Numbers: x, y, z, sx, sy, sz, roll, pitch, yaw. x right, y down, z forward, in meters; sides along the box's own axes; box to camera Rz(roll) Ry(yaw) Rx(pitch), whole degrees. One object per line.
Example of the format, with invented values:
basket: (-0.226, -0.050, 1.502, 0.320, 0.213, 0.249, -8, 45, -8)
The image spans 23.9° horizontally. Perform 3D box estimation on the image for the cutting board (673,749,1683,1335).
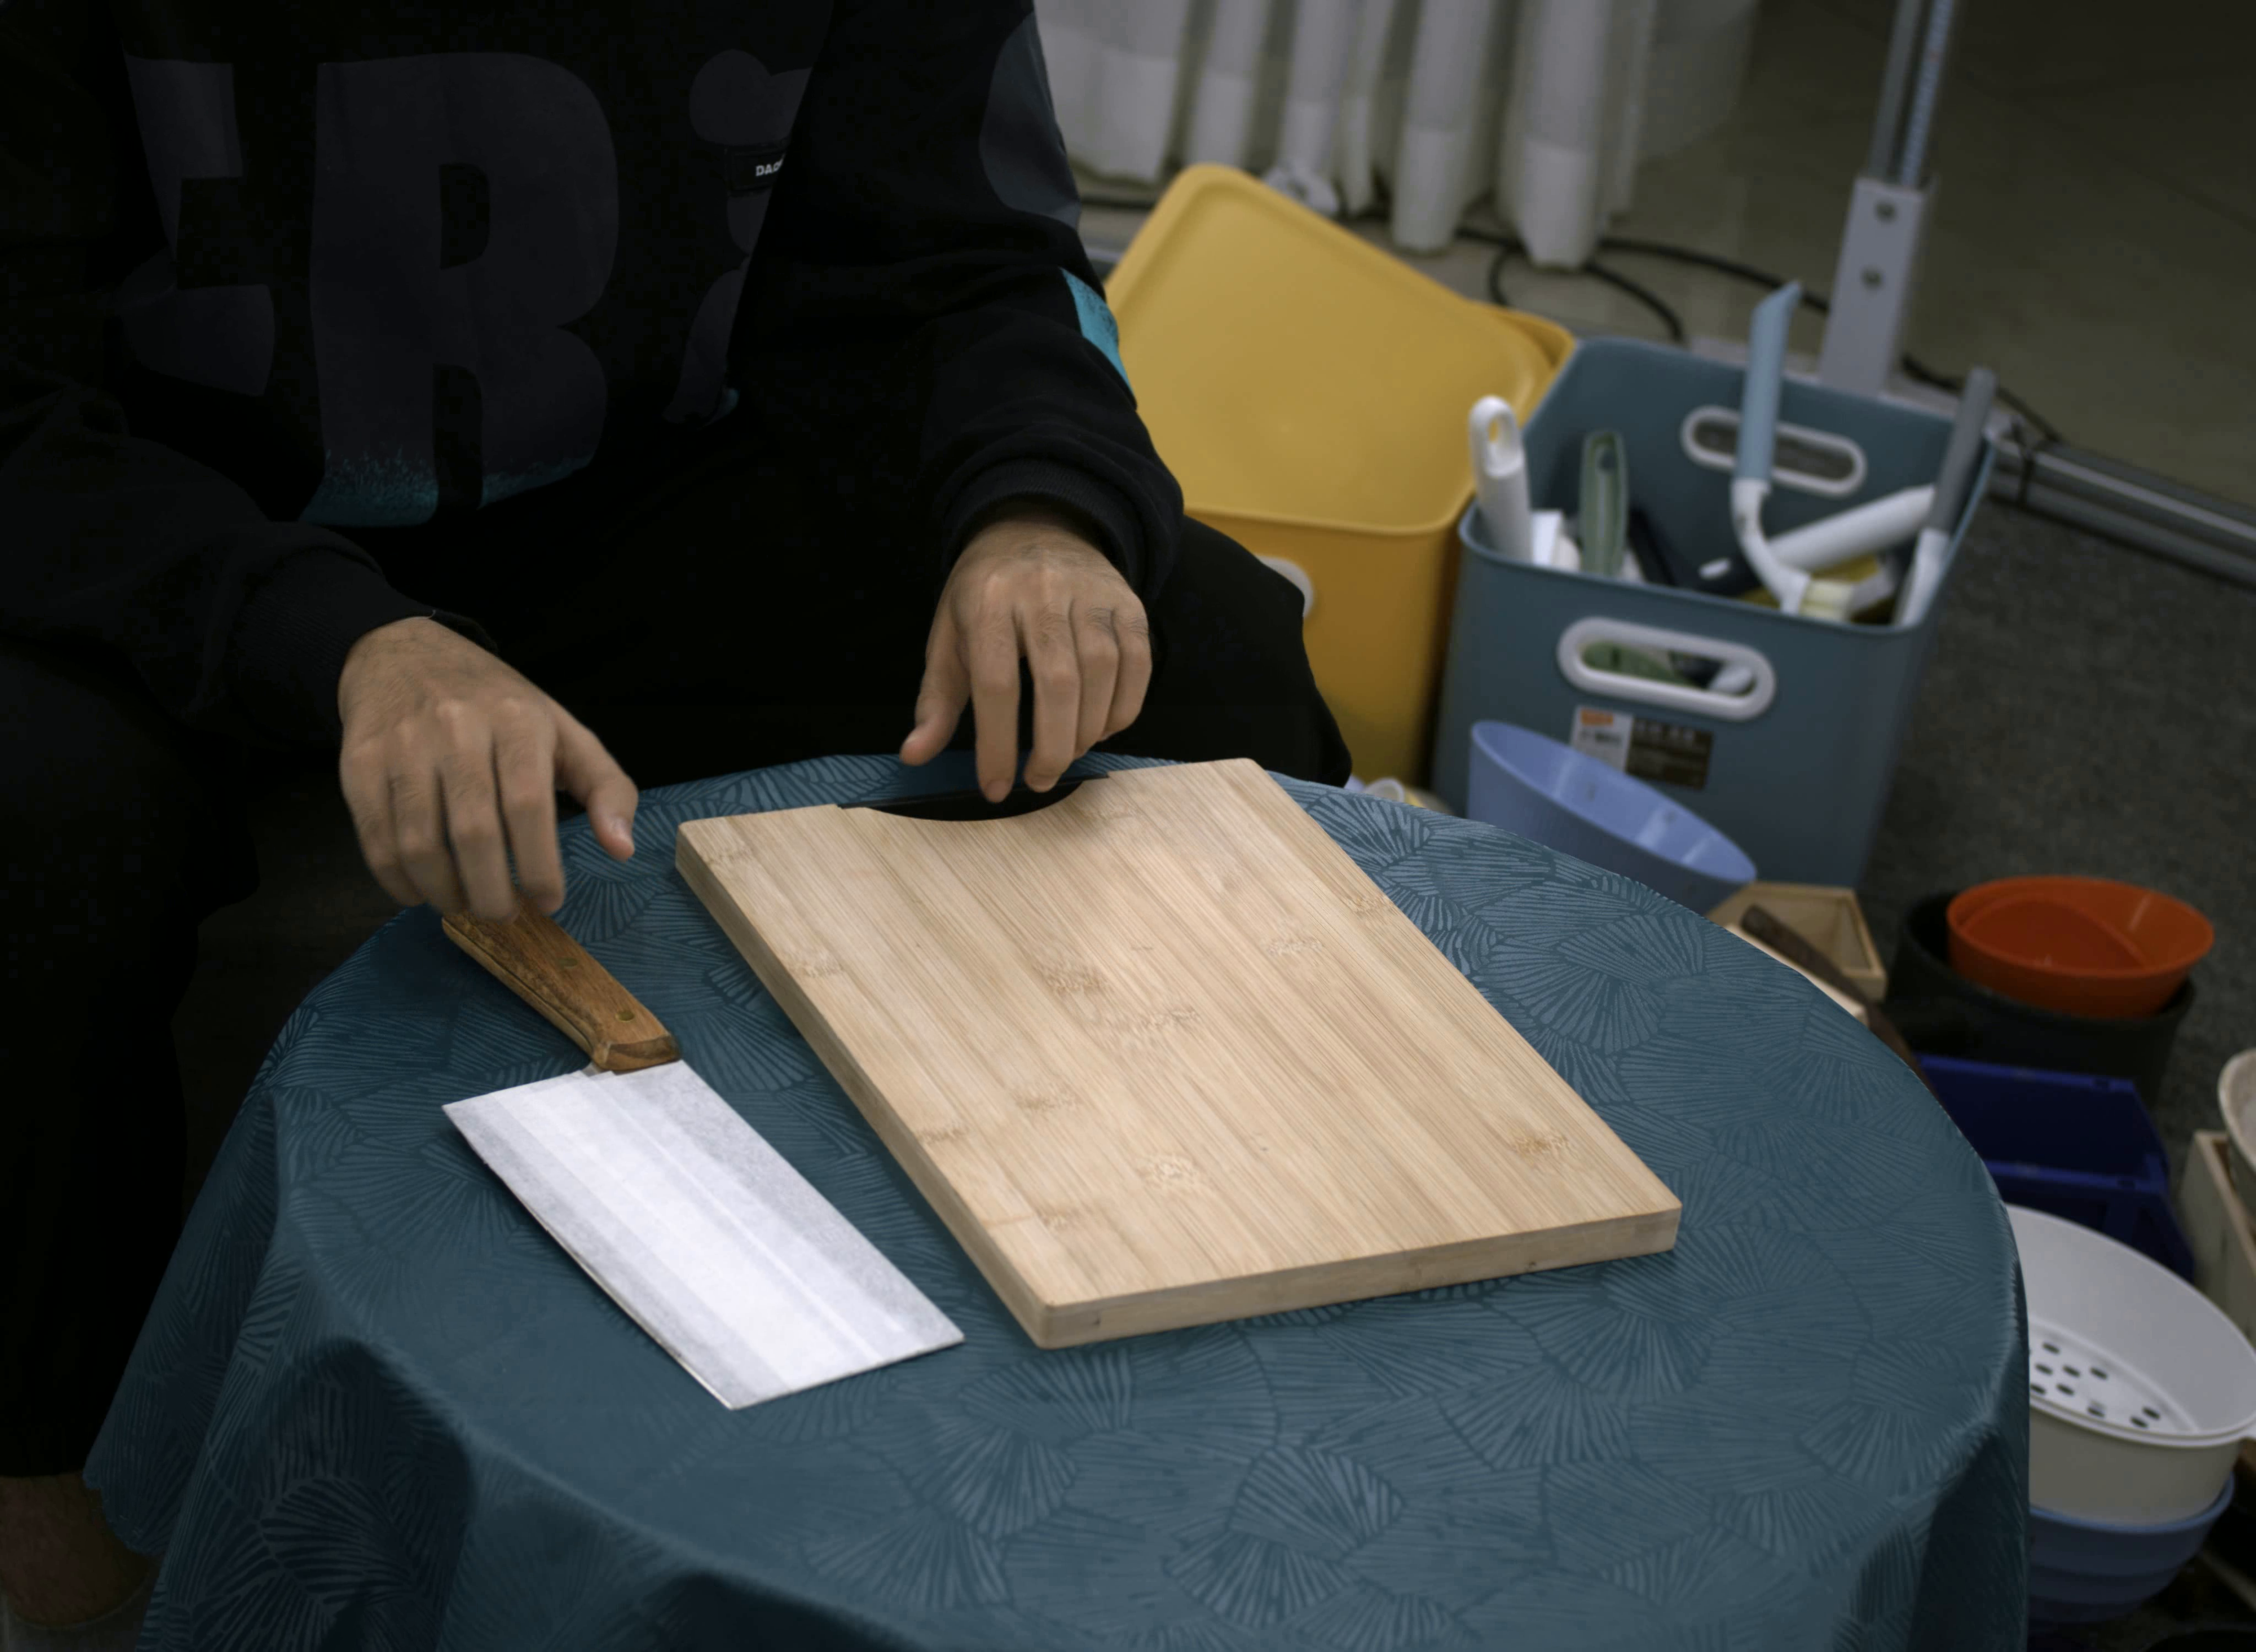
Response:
cutting board: (0.009, 0.069, 1.892, 0.249, 0.023, 0.352, -7, 30, -25)

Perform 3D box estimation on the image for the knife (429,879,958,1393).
knife: (-0.172, 0.103, 1.788, 0.092, 0.021, 0.308, -14, 36, -32)
